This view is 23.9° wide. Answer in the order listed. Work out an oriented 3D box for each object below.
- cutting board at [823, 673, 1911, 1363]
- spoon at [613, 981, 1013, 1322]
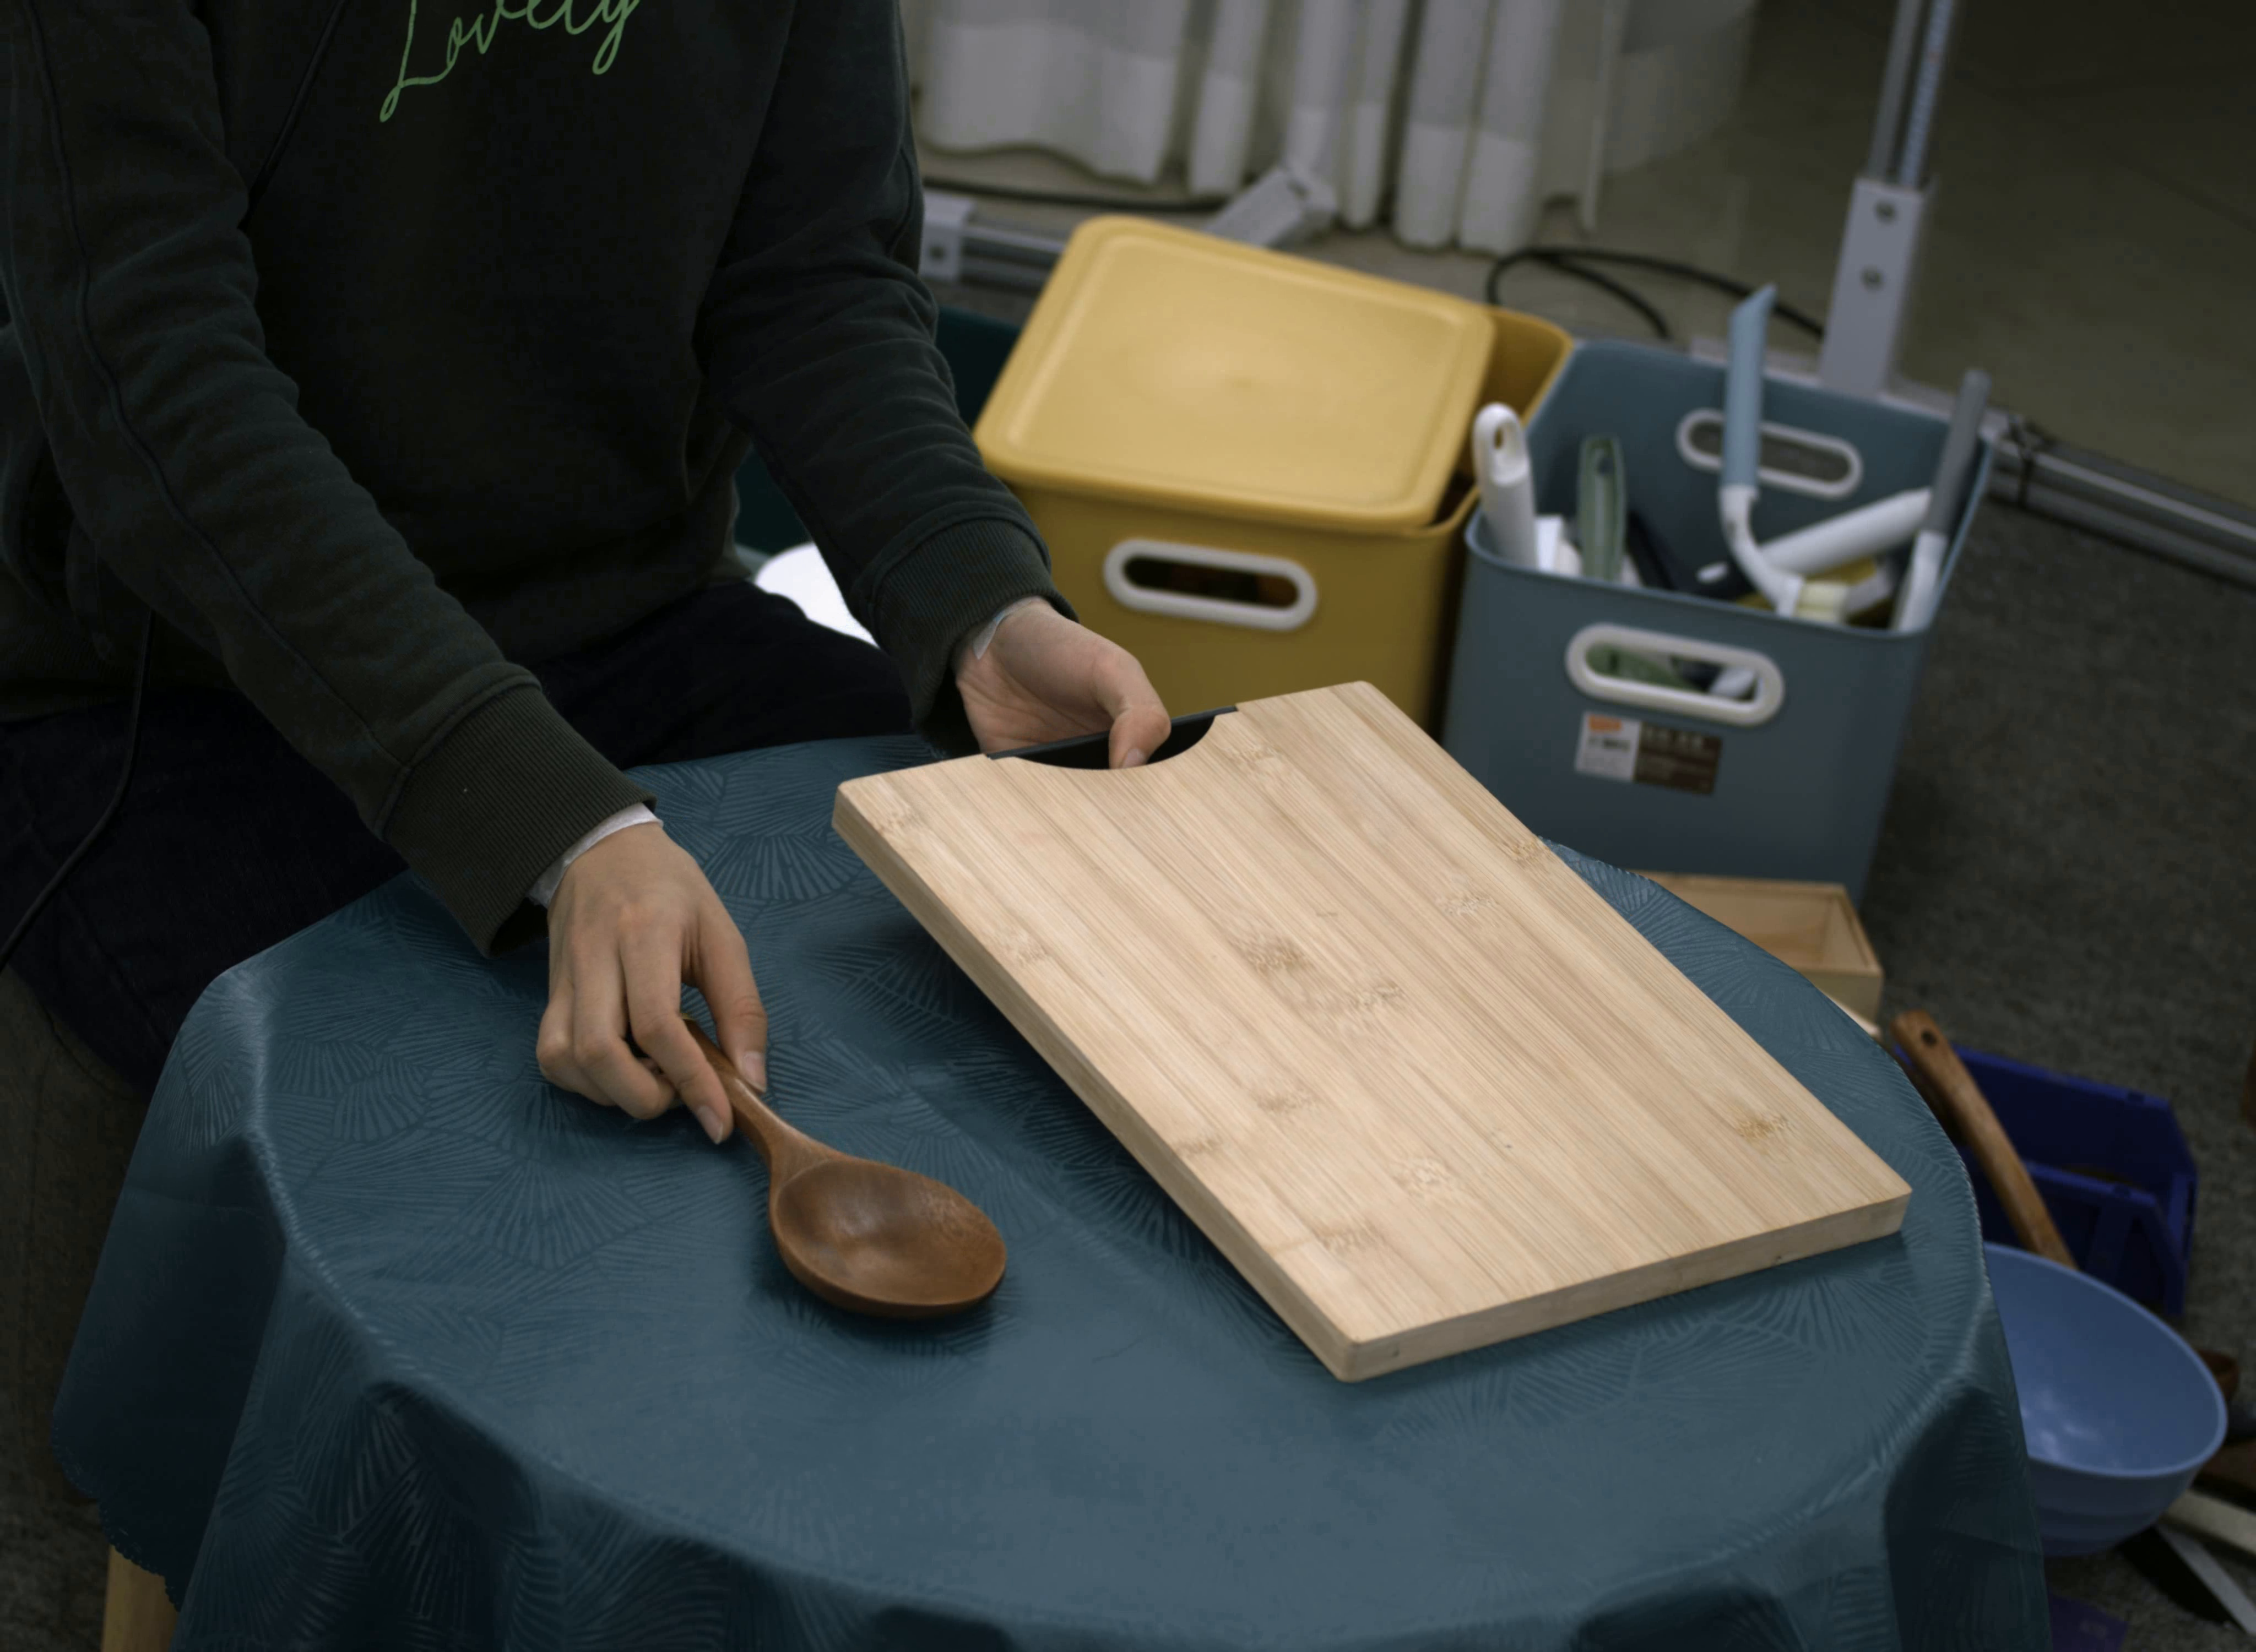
[{"bbox_3d":[0.078,0.059,1.882,0.249,0.023,0.352,-11,38,-32],"label":"cutting board"},{"bbox_3d":[-0.113,0.109,1.780,0.075,0.017,0.218,-13,35,-31],"label":"spoon"}]
